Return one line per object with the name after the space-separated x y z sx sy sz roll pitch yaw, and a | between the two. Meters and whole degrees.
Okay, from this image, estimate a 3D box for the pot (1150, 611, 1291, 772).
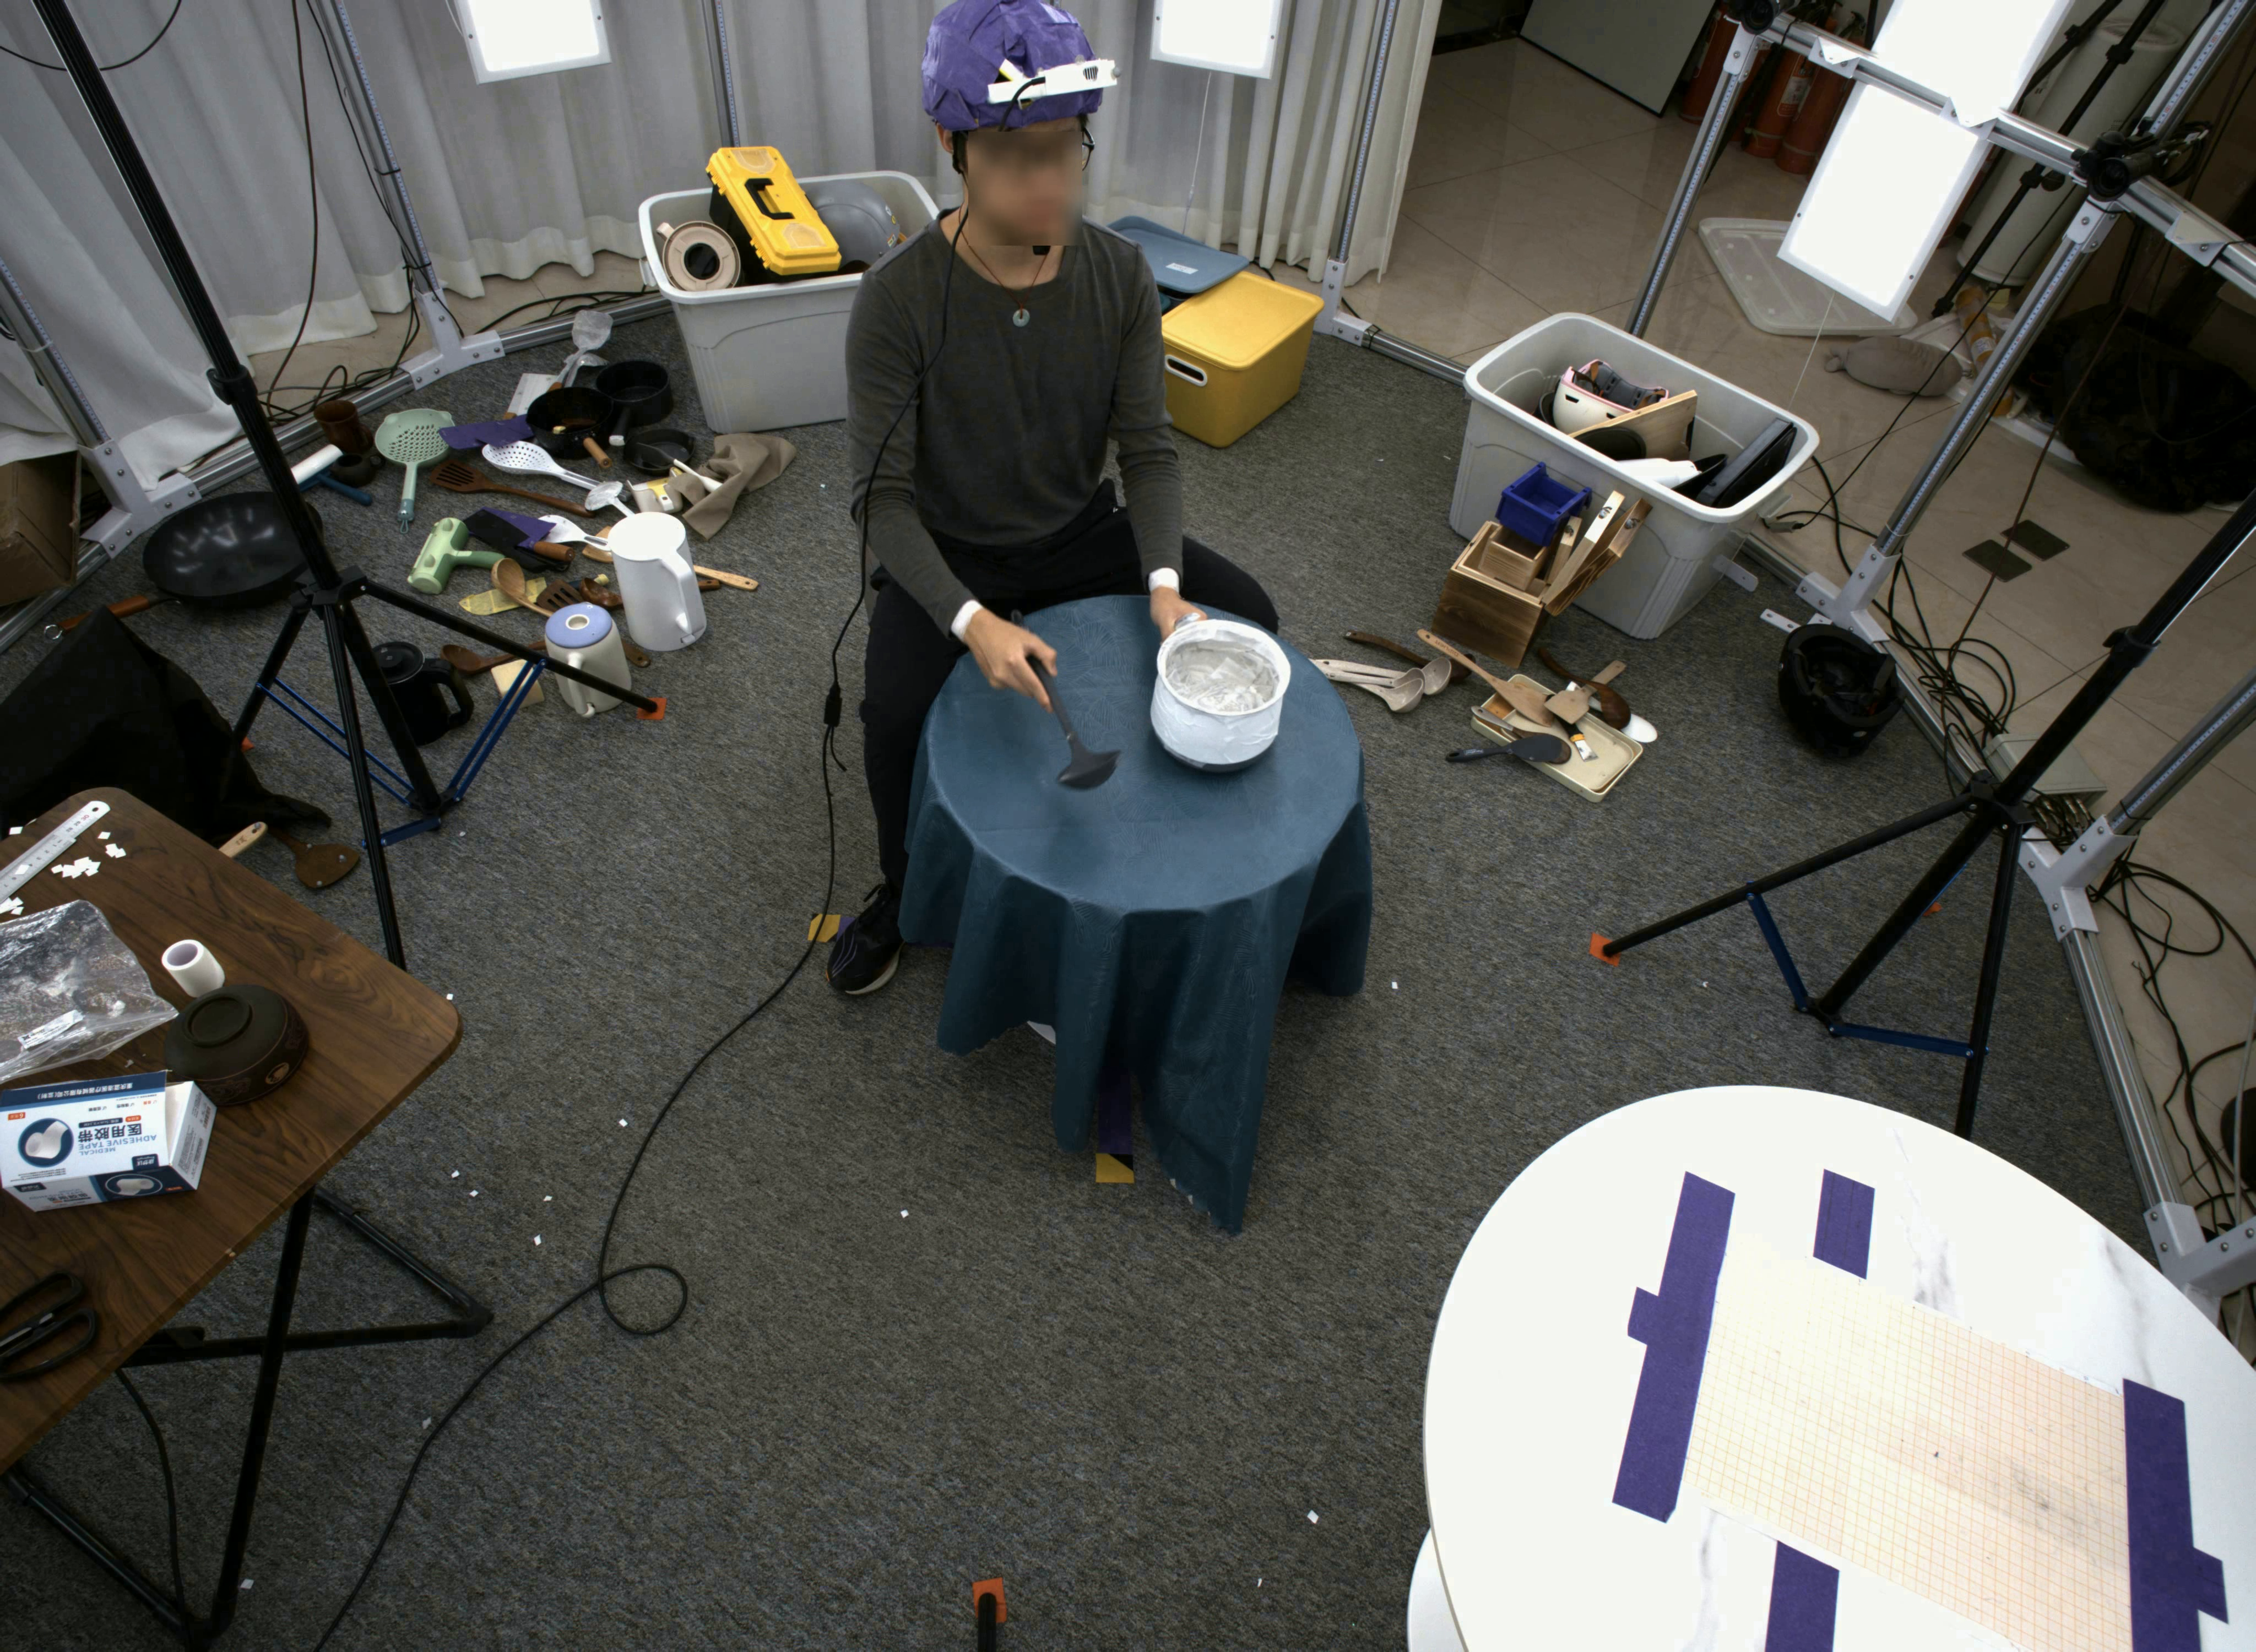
0.110 -0.193 1.746 0.179 0.133 0.239 -15 54 -17 | pot

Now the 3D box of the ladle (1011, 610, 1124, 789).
-0.095 -0.177 1.665 0.086 0.062 0.320 -20 61 -10 | ladle
